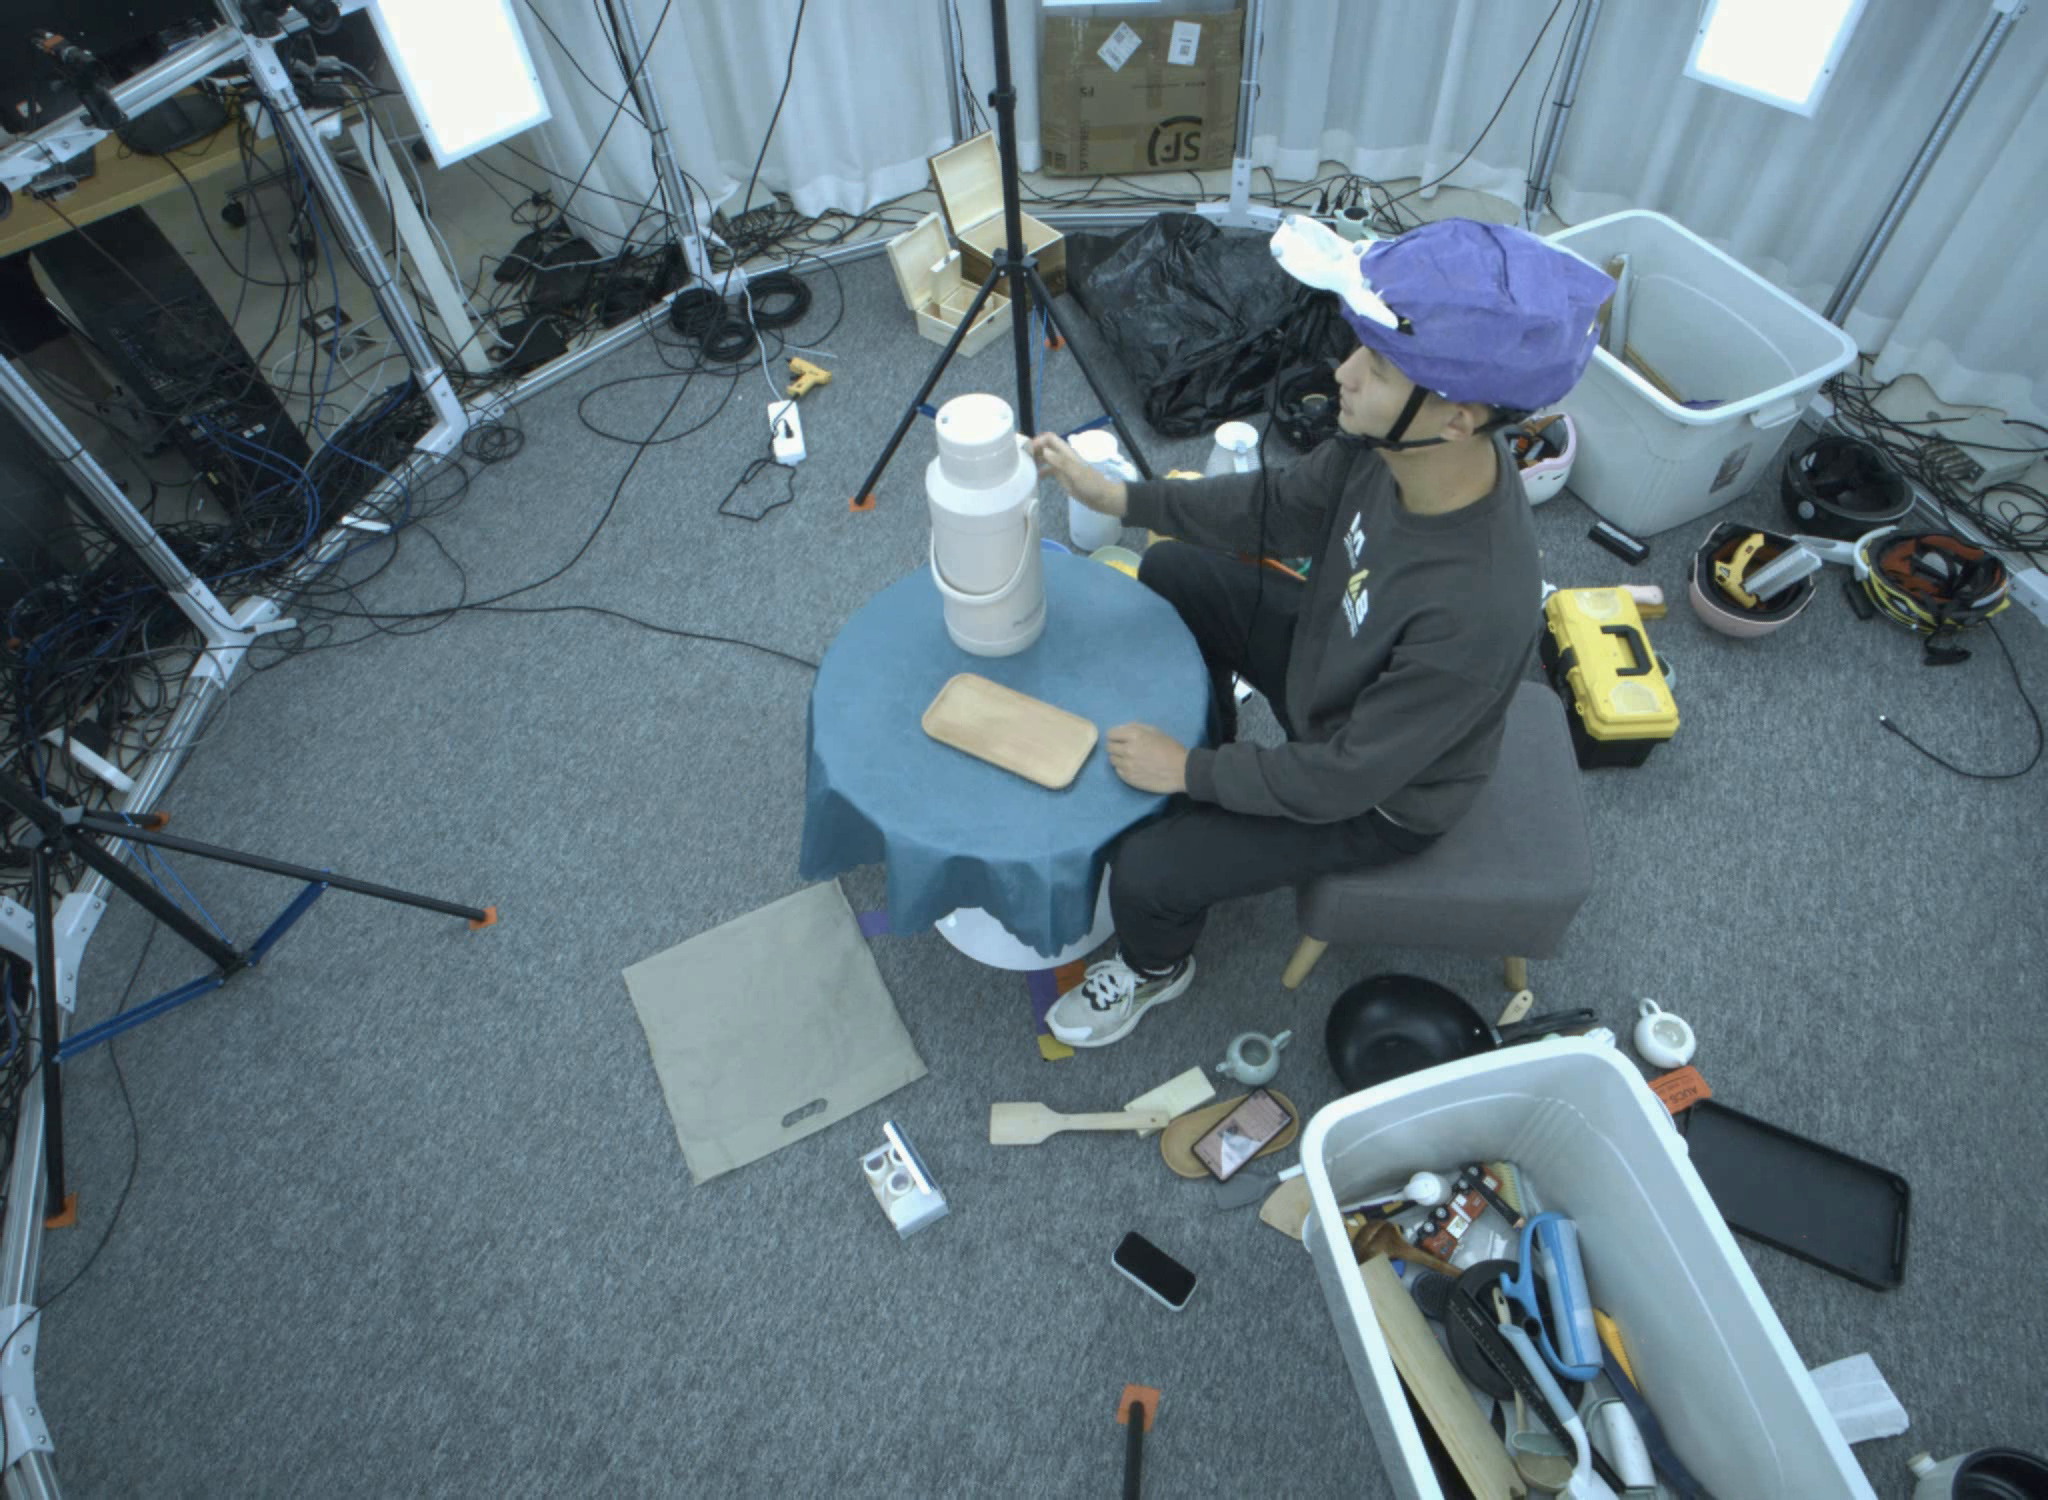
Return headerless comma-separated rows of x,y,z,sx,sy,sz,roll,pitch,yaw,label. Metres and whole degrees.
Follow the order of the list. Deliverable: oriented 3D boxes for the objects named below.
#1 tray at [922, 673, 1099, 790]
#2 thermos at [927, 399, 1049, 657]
-0.021,-0.028,1.796,0.247,0.023,0.131,24,61,17,tray
-0.044,-0.331,1.778,0.173,0.411,0.207,24,59,20,thermos
